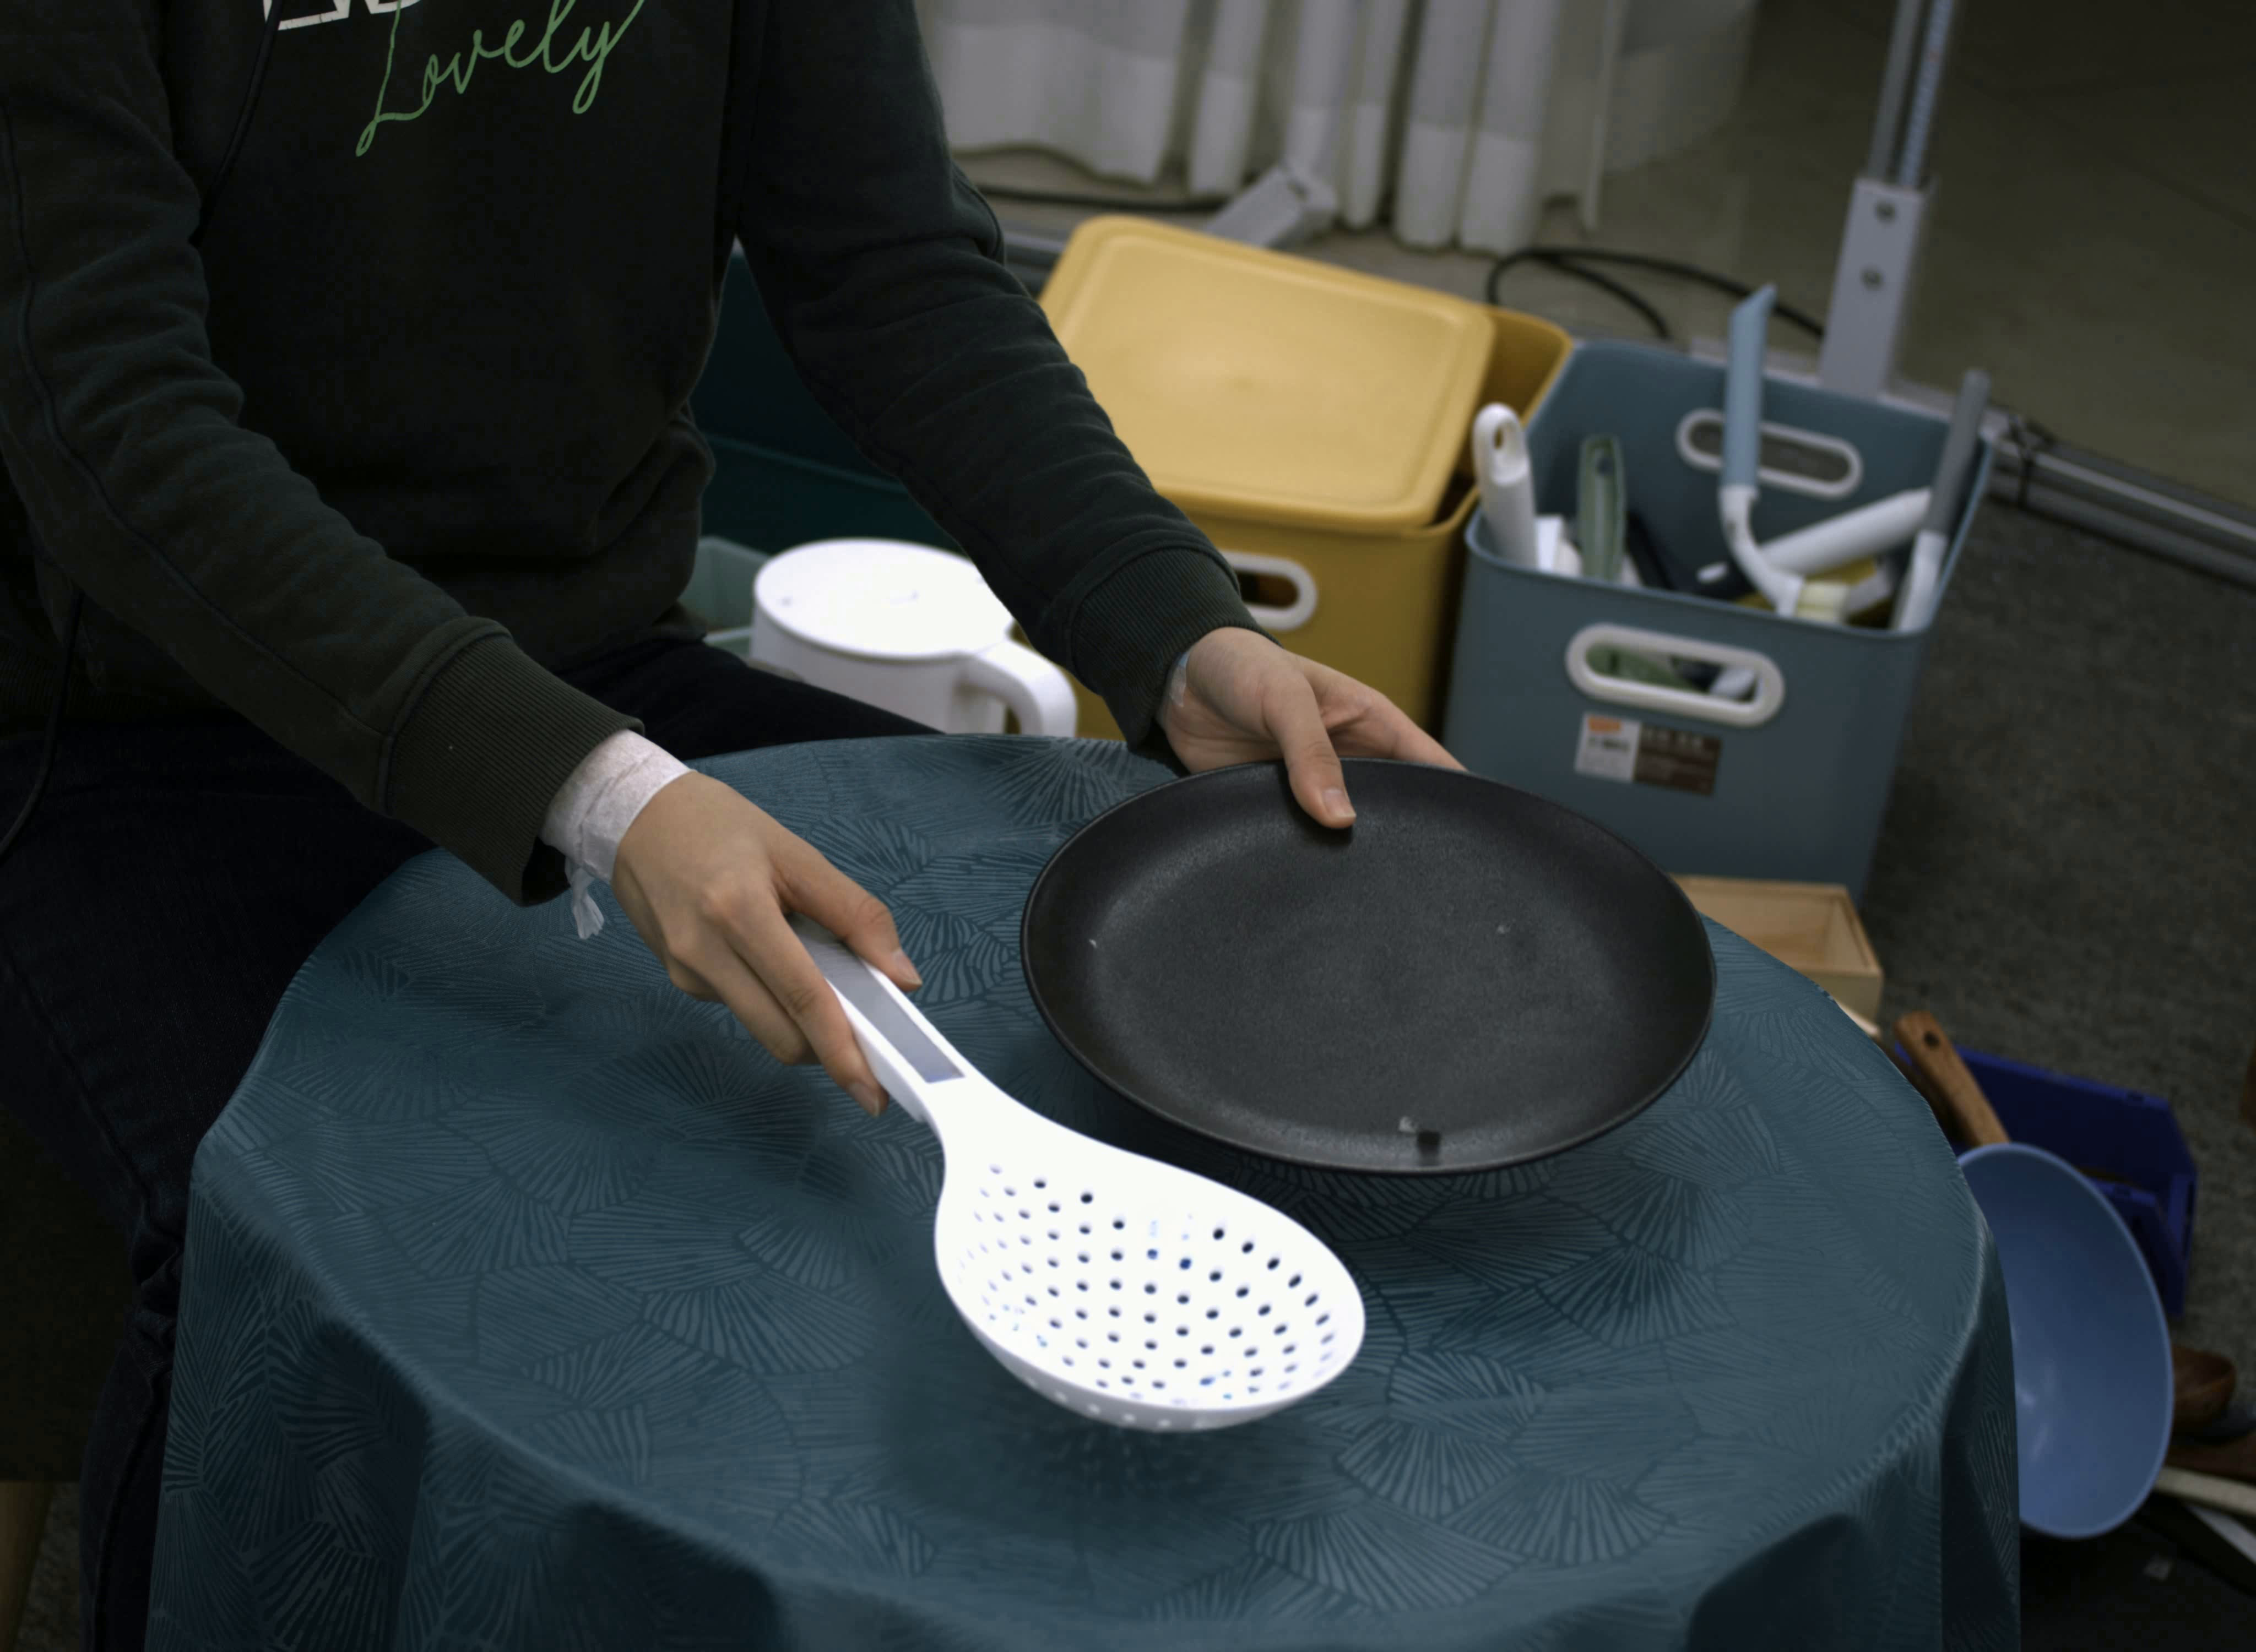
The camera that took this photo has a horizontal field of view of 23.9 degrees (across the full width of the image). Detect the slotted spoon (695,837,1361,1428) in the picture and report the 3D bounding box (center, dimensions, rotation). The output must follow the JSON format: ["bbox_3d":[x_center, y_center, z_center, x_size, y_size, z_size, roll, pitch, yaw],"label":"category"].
[{"bbox_3d":[-0.052,0.094,1.733,0.135,0.045,0.353,-6,37,-33],"label":"slotted spoon"}]

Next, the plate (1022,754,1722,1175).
[{"bbox_3d":[0.084,0.051,1.847,0.243,0.023,0.246,1,35,-1],"label":"plate"}]
